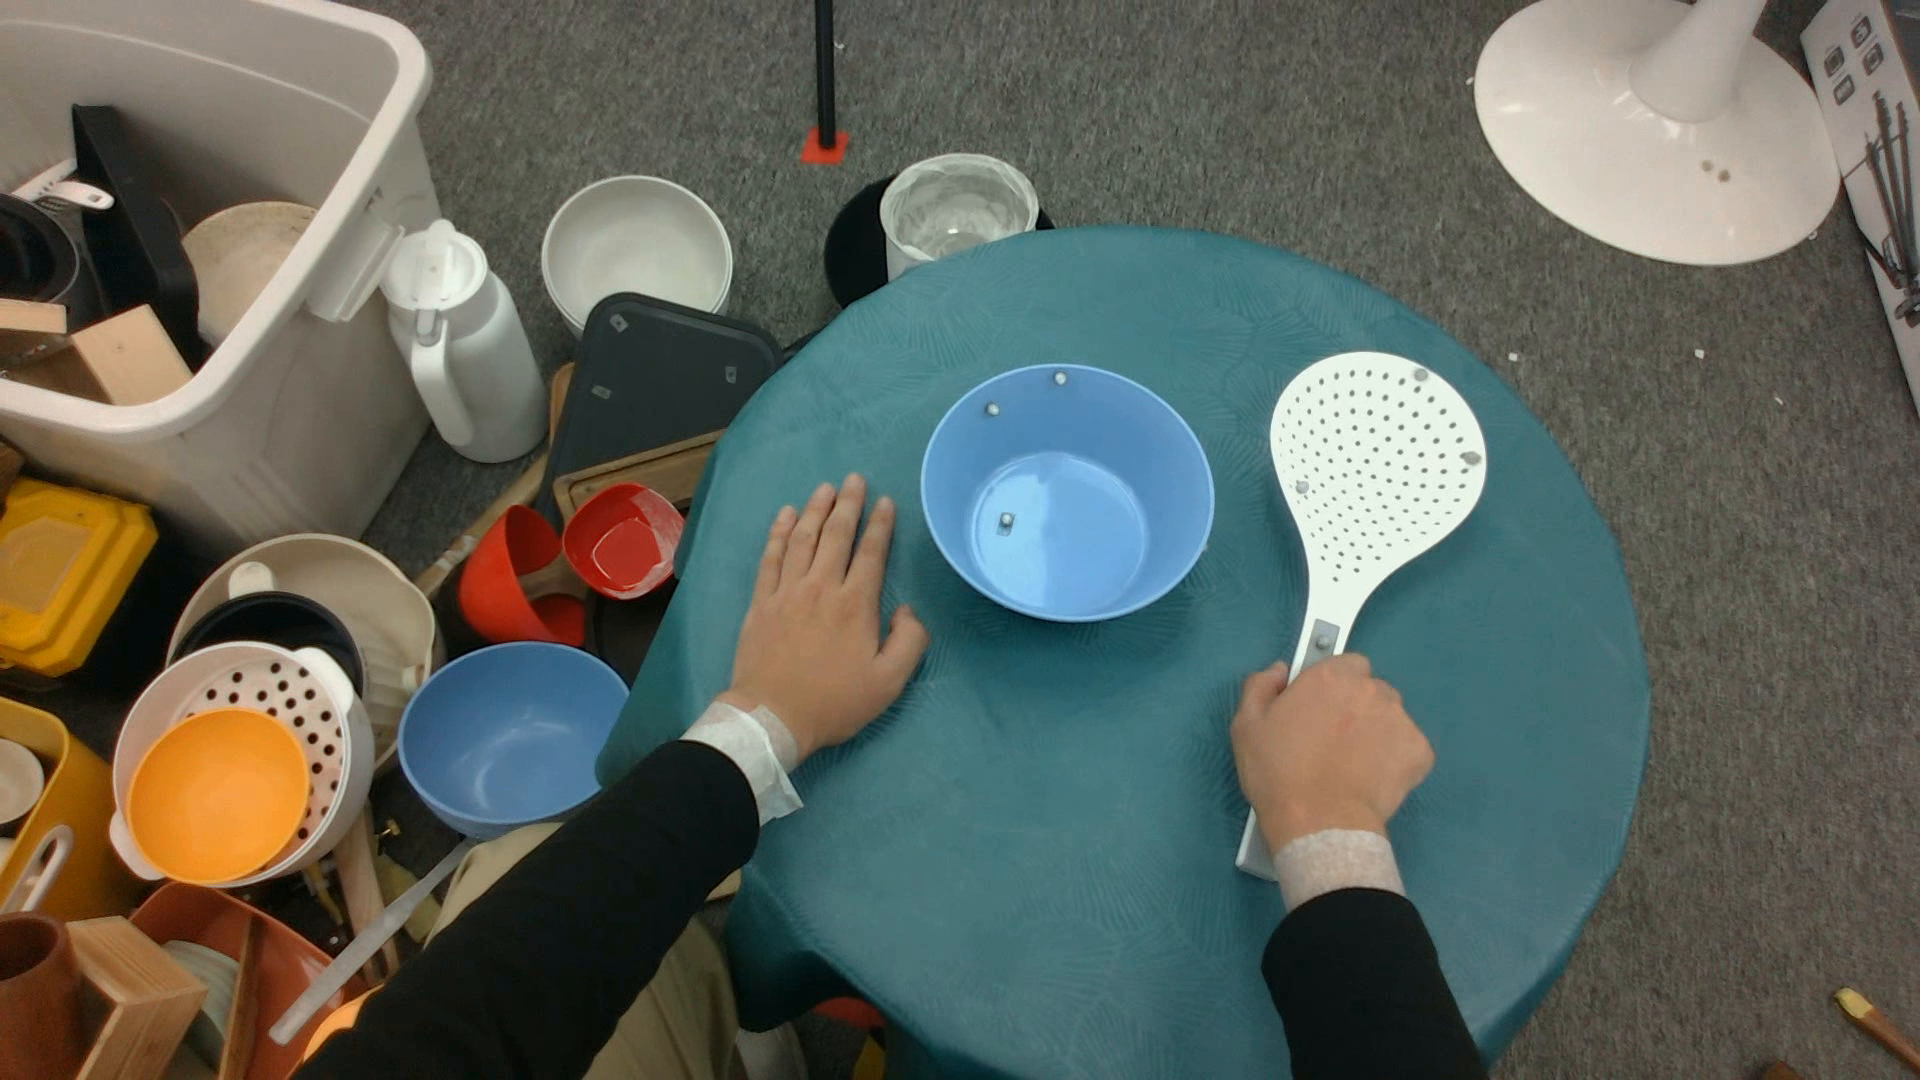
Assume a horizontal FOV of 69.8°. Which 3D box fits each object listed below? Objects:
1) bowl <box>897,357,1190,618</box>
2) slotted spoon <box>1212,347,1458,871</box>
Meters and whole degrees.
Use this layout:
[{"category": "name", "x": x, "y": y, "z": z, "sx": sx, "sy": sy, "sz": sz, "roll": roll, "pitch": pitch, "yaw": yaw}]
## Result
[{"category": "bowl", "x": 0.048, "y": -0.021, "z": 0.844, "sx": 0.176, "sy": 0.070, "sz": 0.176, "roll": 2, "pitch": 63, "yaw": -4}, {"category": "slotted spoon", "x": 0.214, "y": 0.033, "z": 0.843, "sx": 0.136, "sy": 0.045, "sz": 0.351, "roll": 20, "pitch": 63, "yaw": 3}]
